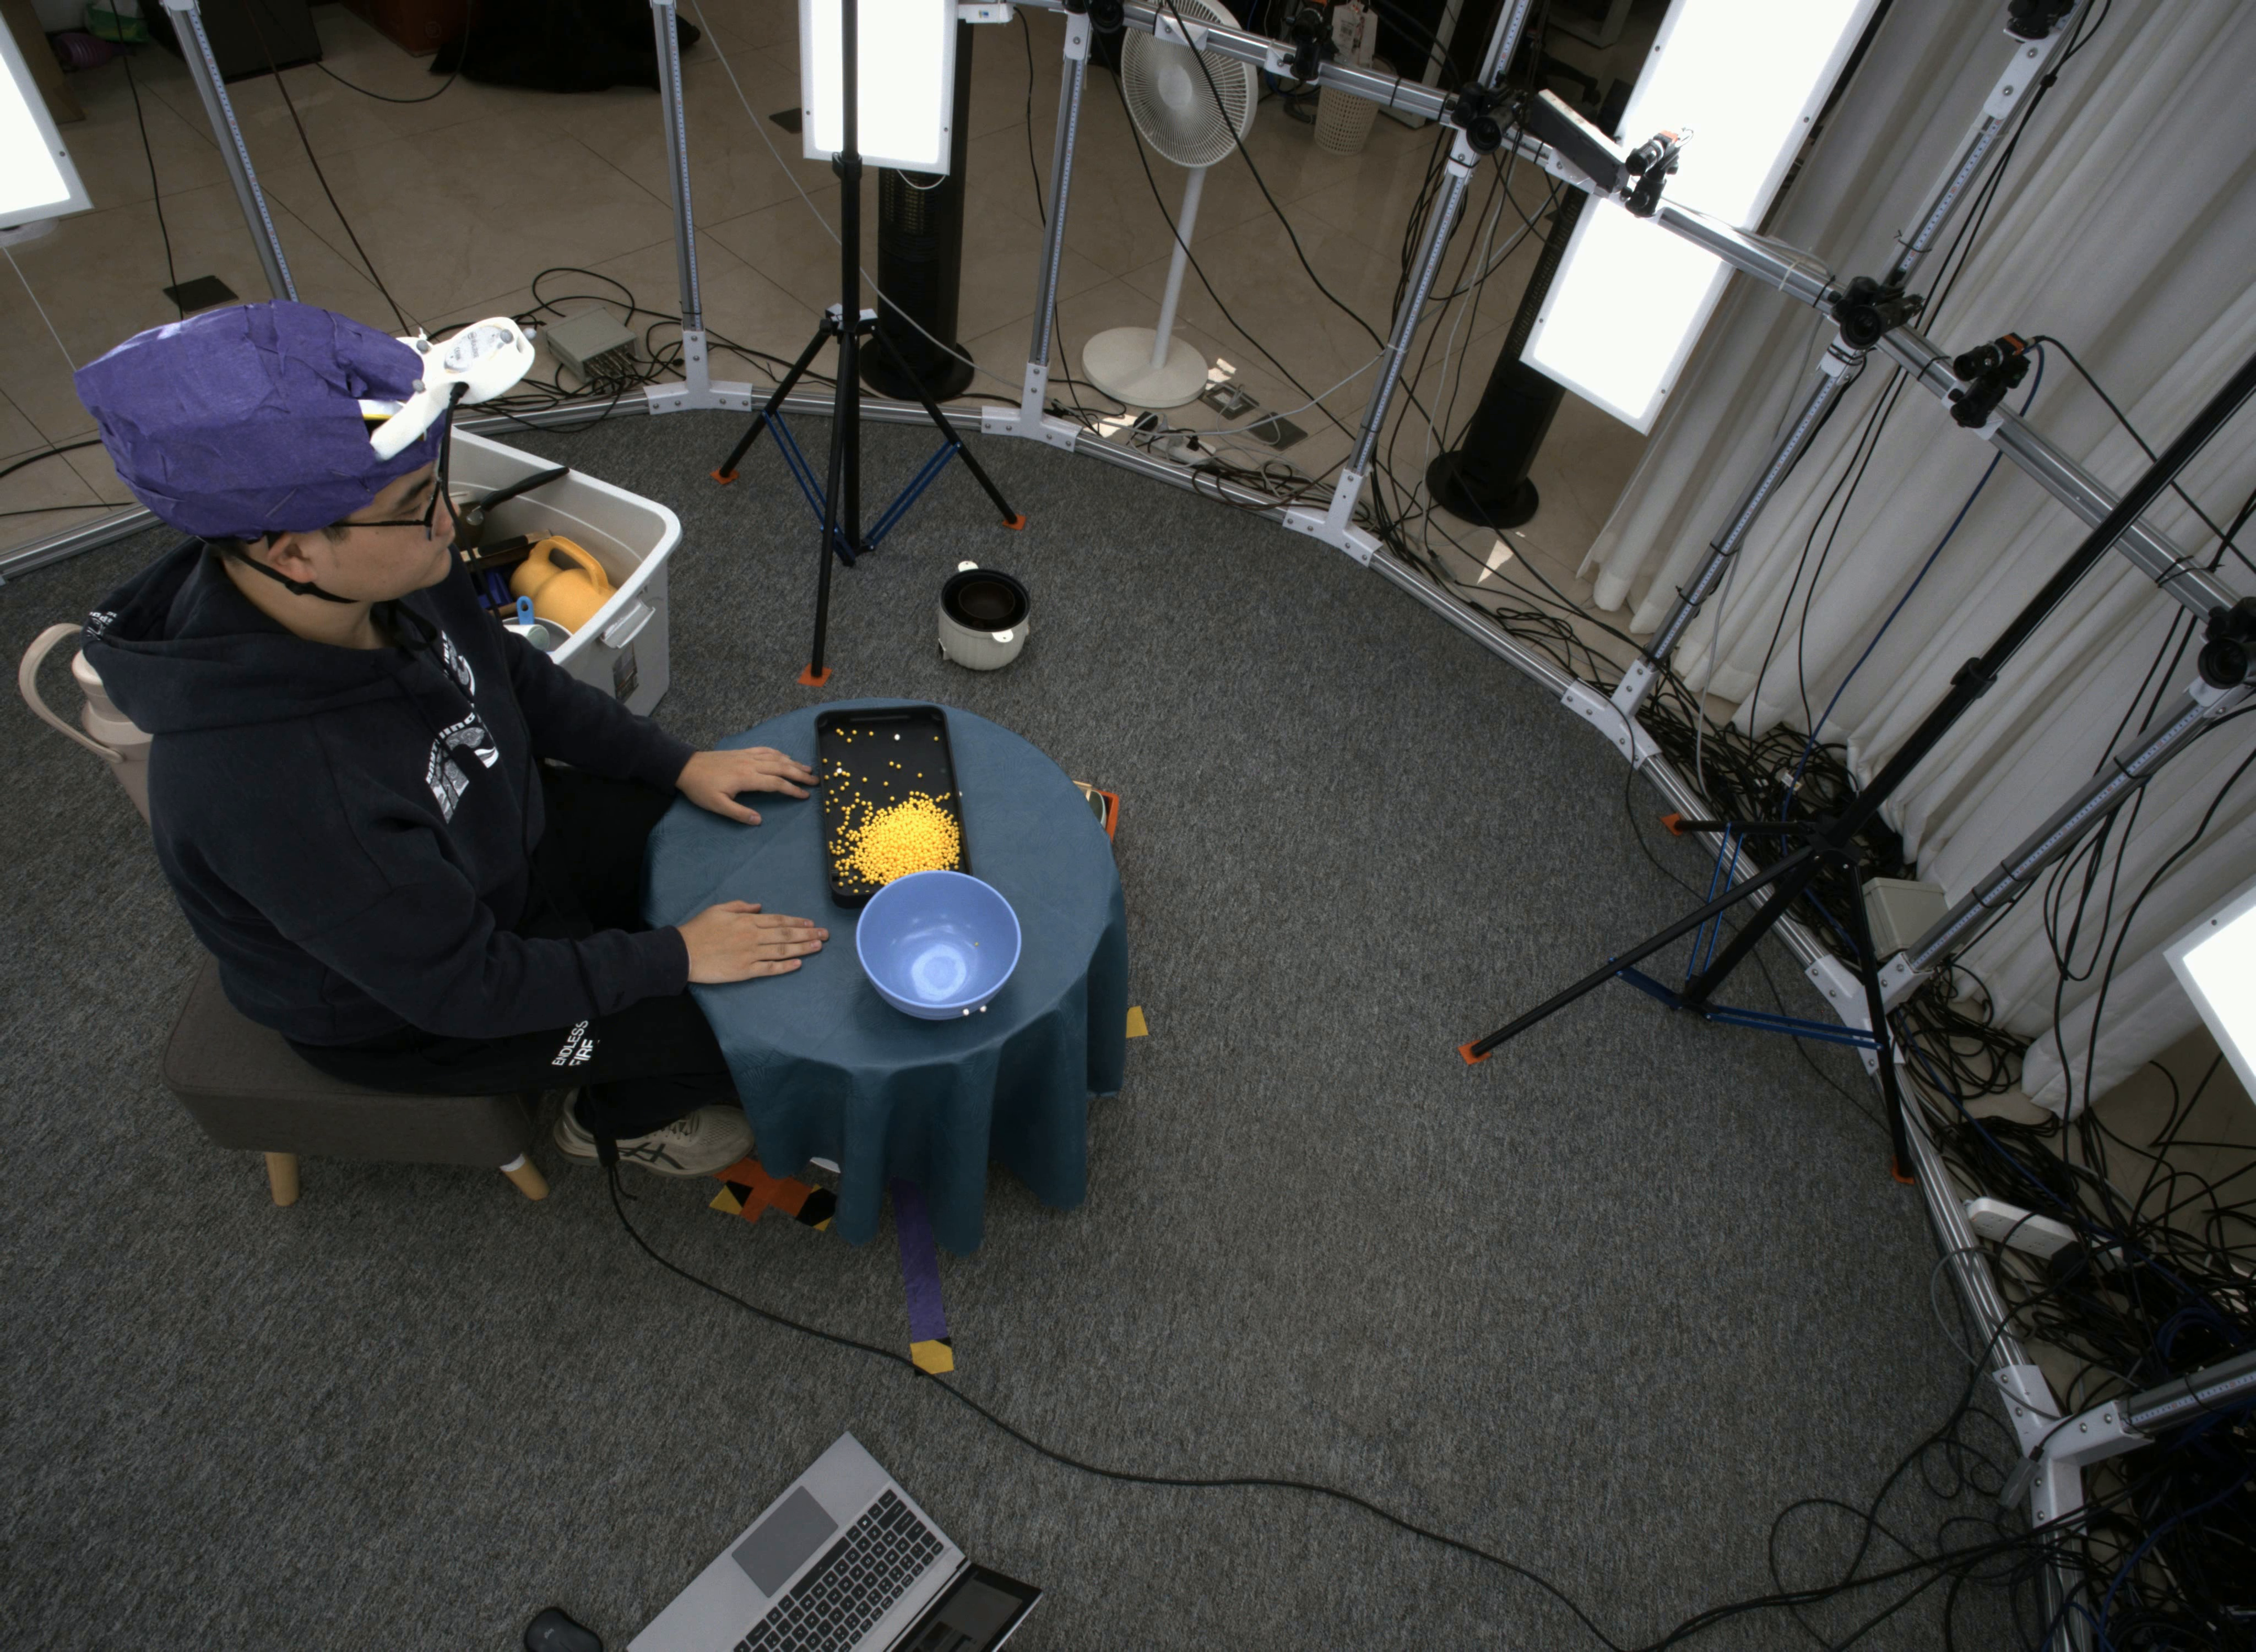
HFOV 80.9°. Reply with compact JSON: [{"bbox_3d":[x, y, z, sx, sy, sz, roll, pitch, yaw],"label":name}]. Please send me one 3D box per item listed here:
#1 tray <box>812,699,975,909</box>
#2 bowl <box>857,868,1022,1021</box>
[{"bbox_3d":[-0.320,-0.037,1.752,0.185,0.038,0.311,-5,56,-17],"label":"tray"},{"bbox_3d":[-0.231,0.158,1.588,0.196,0.097,0.193,8,53,-9],"label":"bowl"}]
